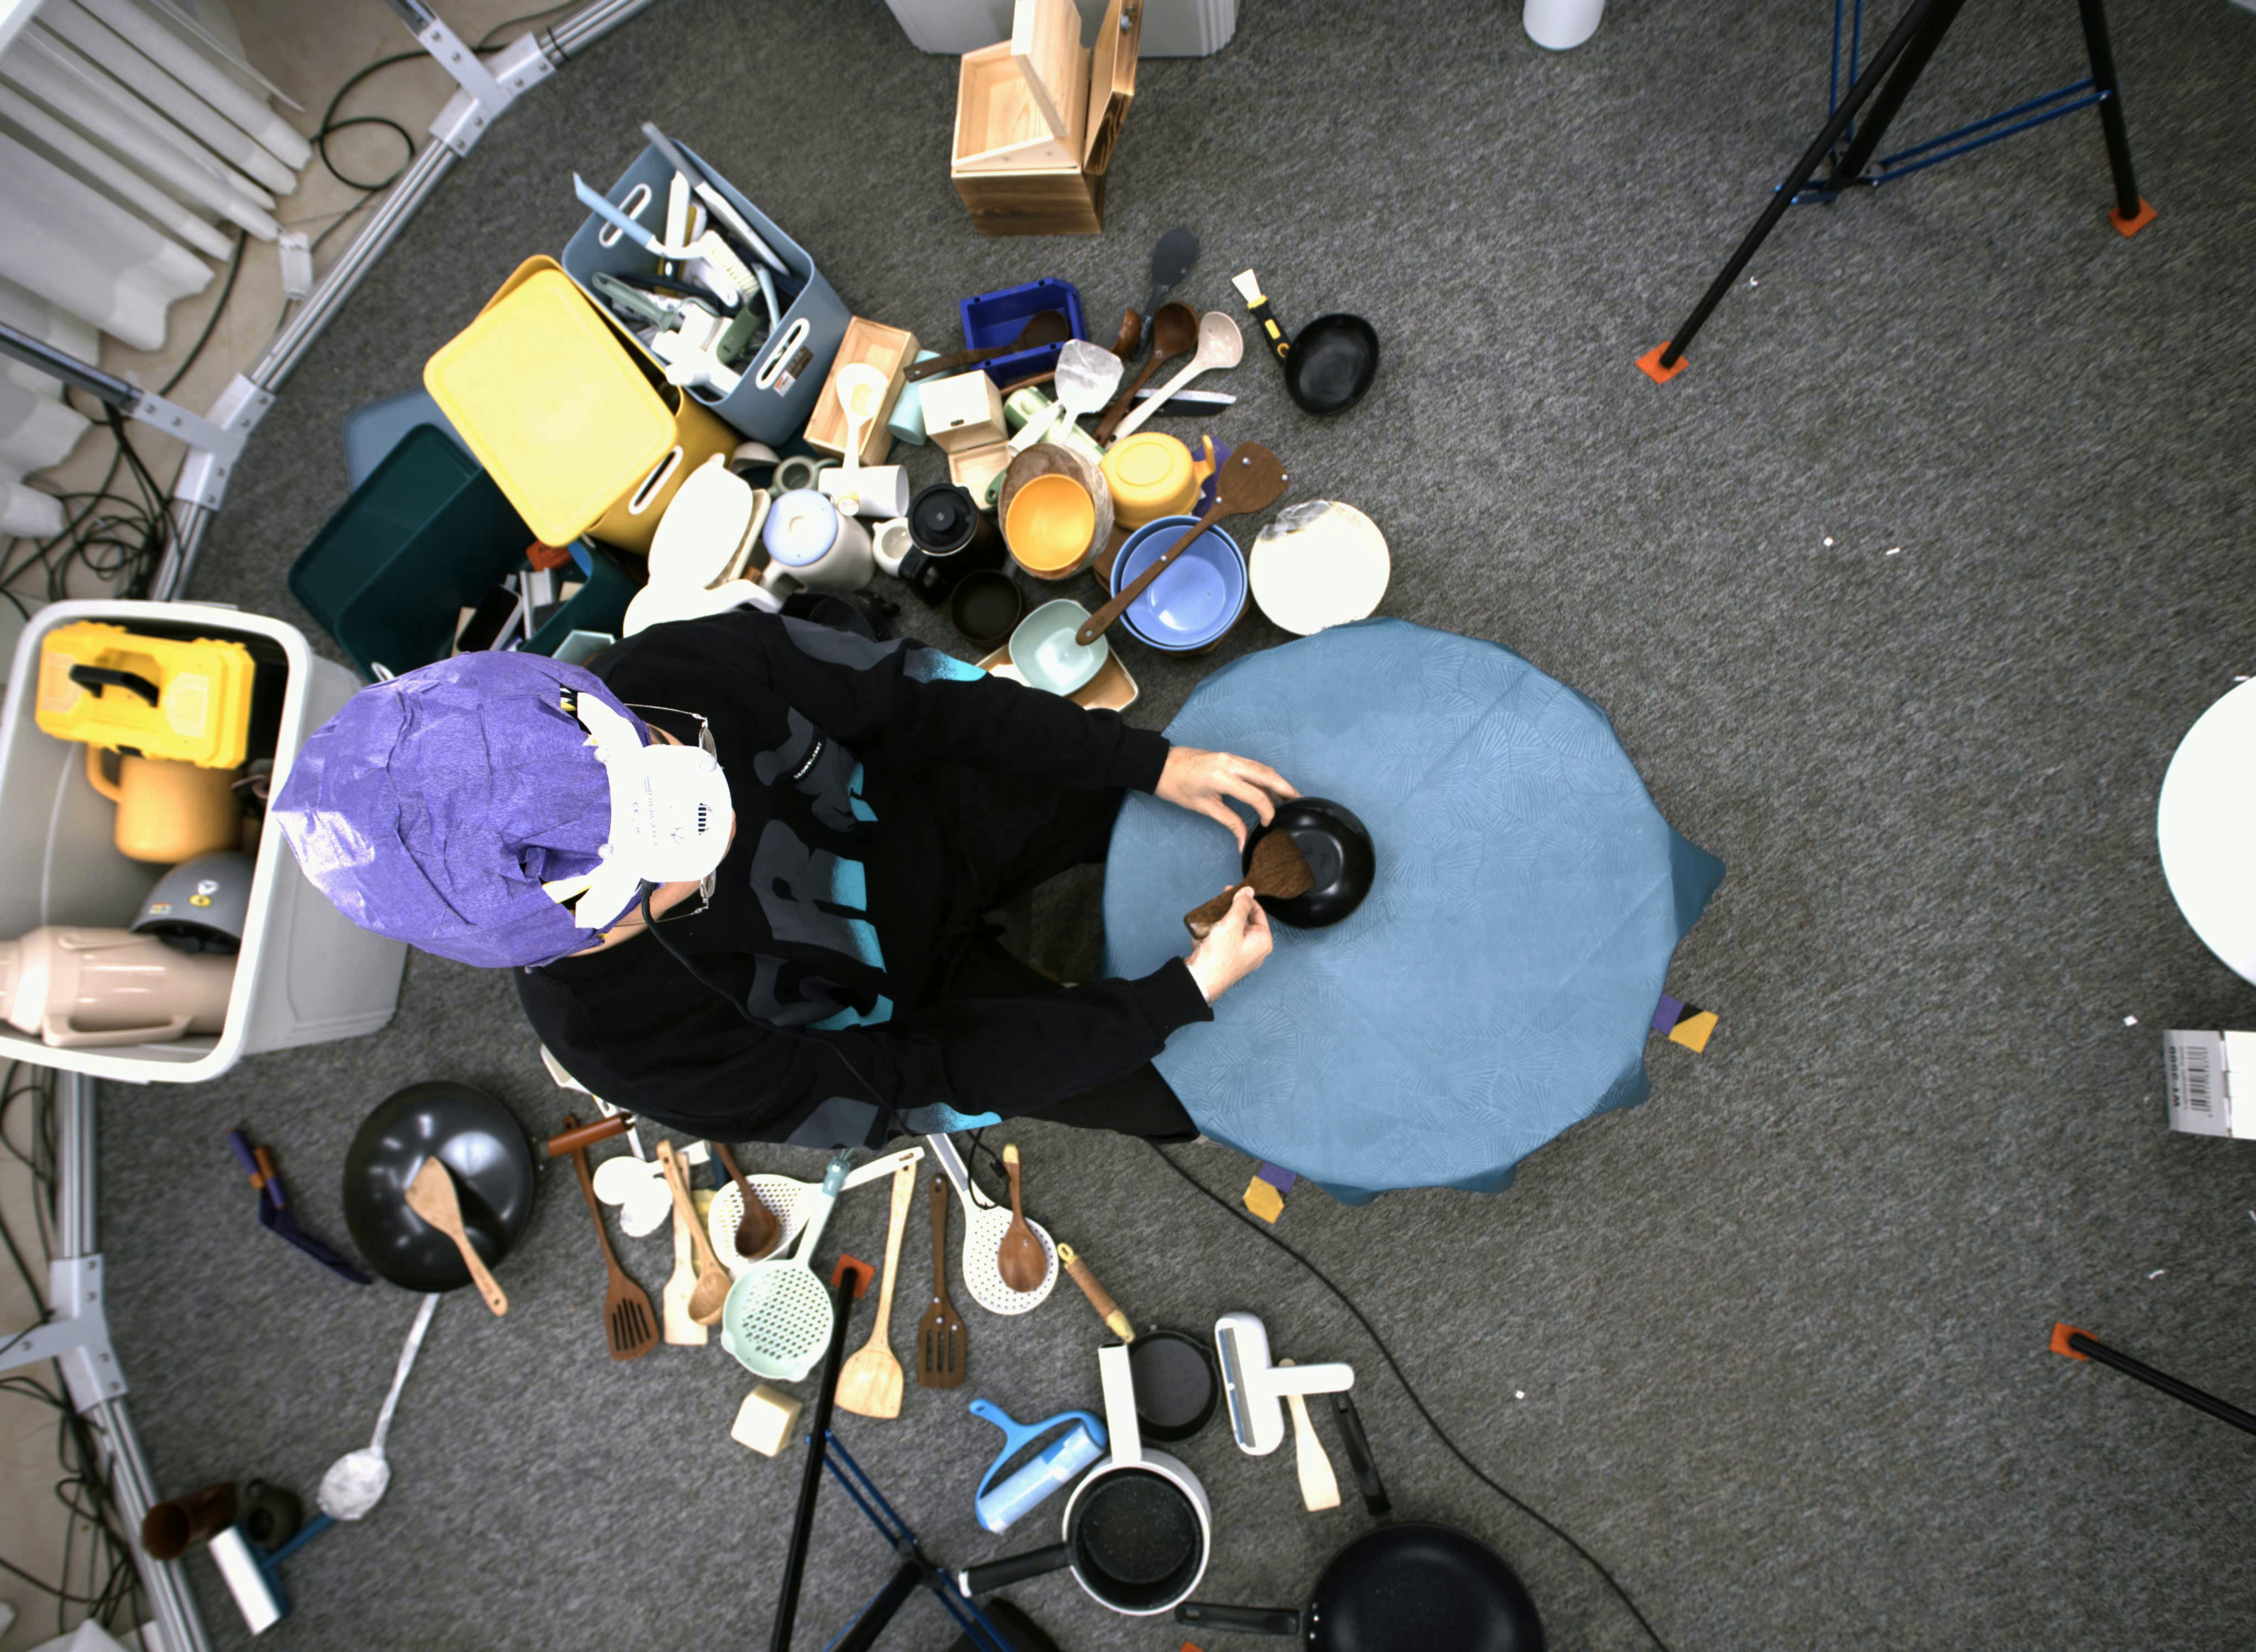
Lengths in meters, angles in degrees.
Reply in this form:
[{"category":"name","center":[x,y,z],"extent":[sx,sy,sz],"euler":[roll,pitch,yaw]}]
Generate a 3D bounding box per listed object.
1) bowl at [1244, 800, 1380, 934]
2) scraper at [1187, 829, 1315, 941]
[{"category":"bowl","center":[0.192,0.041,1.449],"extent":[0.140,0.049,0.140],"euler":[1,95,8]},{"category":"scraper","center":[0.121,0.066,1.395],"extent":[0.011,0.207,0.076],"euler":[-30,89,42]}]
